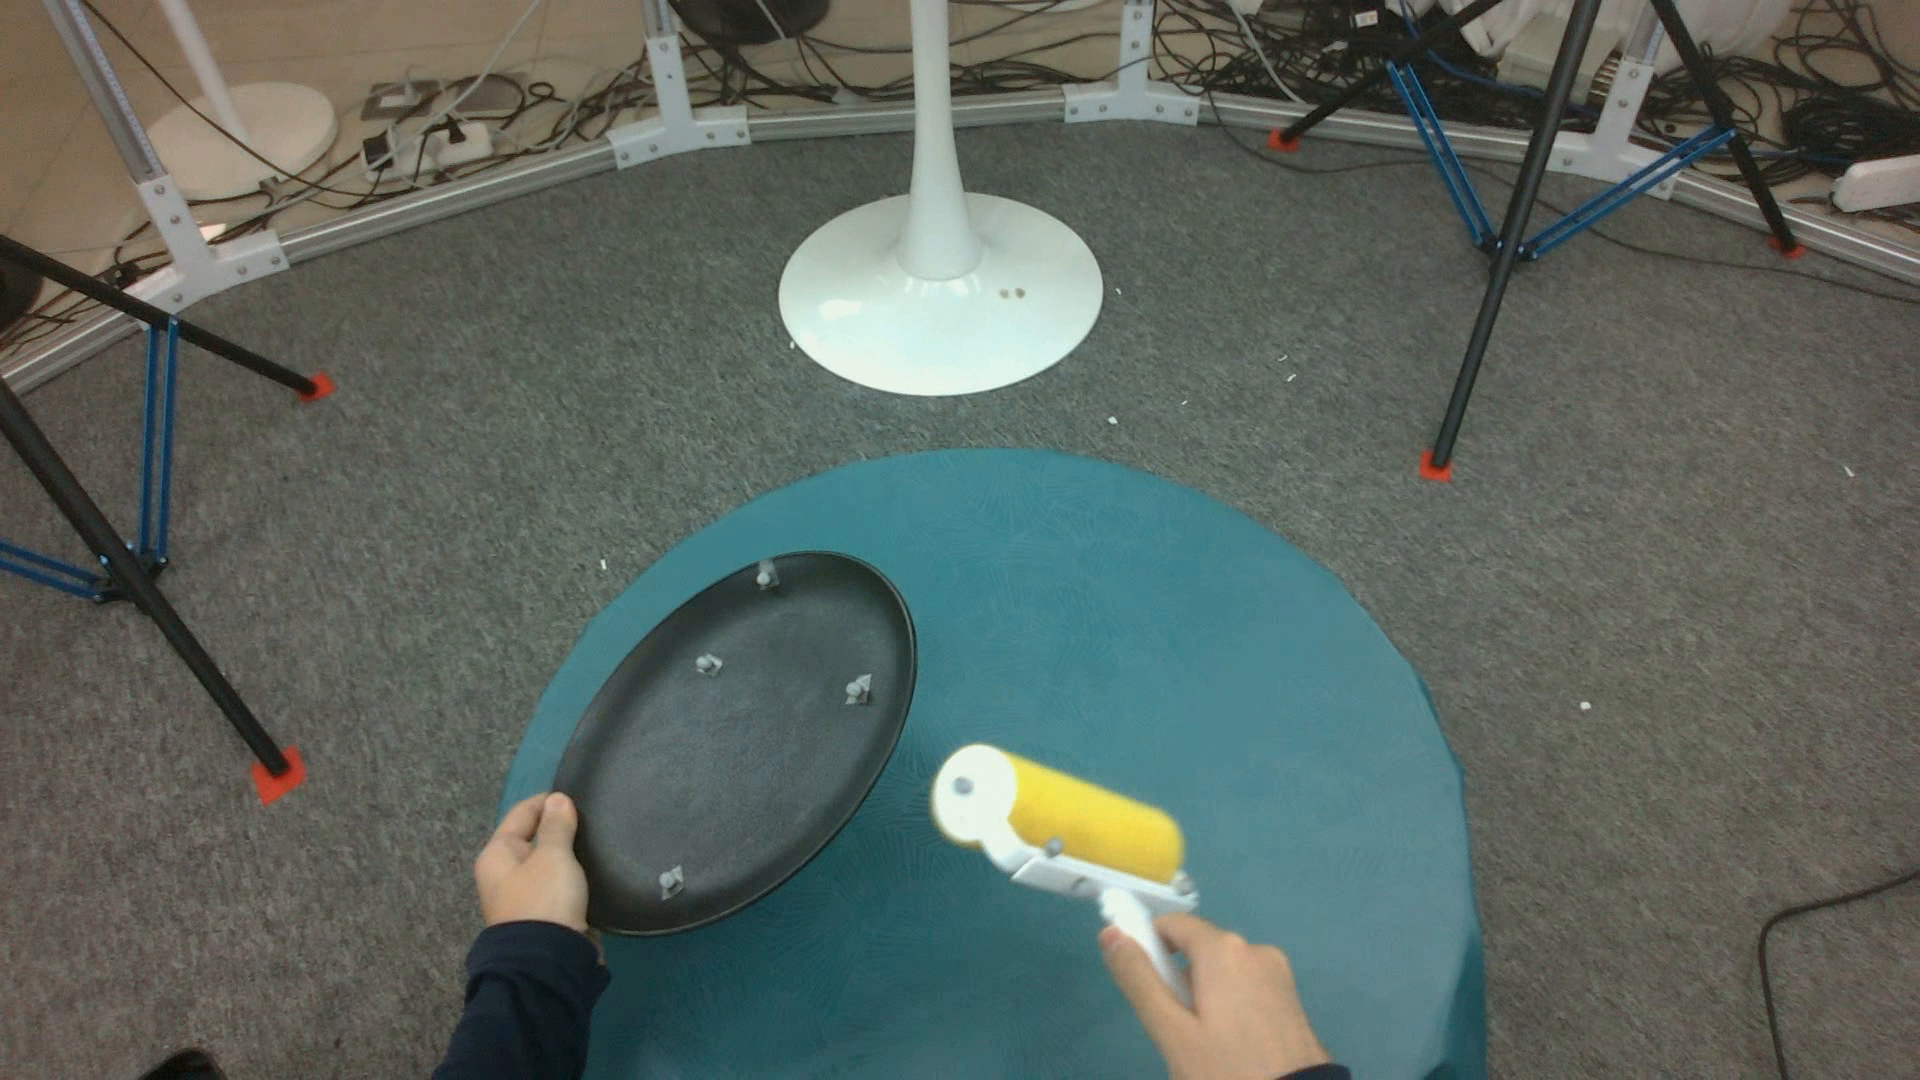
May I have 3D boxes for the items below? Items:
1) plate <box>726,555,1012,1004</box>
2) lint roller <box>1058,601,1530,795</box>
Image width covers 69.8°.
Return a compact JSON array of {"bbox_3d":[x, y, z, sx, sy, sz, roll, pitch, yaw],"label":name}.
[{"bbox_3d":[-0.052,0.129,0.765,0.243,0.023,0.245,-19,63,43],"label":"plate"},{"bbox_3d":[0.170,0.074,0.648,0.191,0.175,0.051,9,100,37],"label":"lint roller"}]
